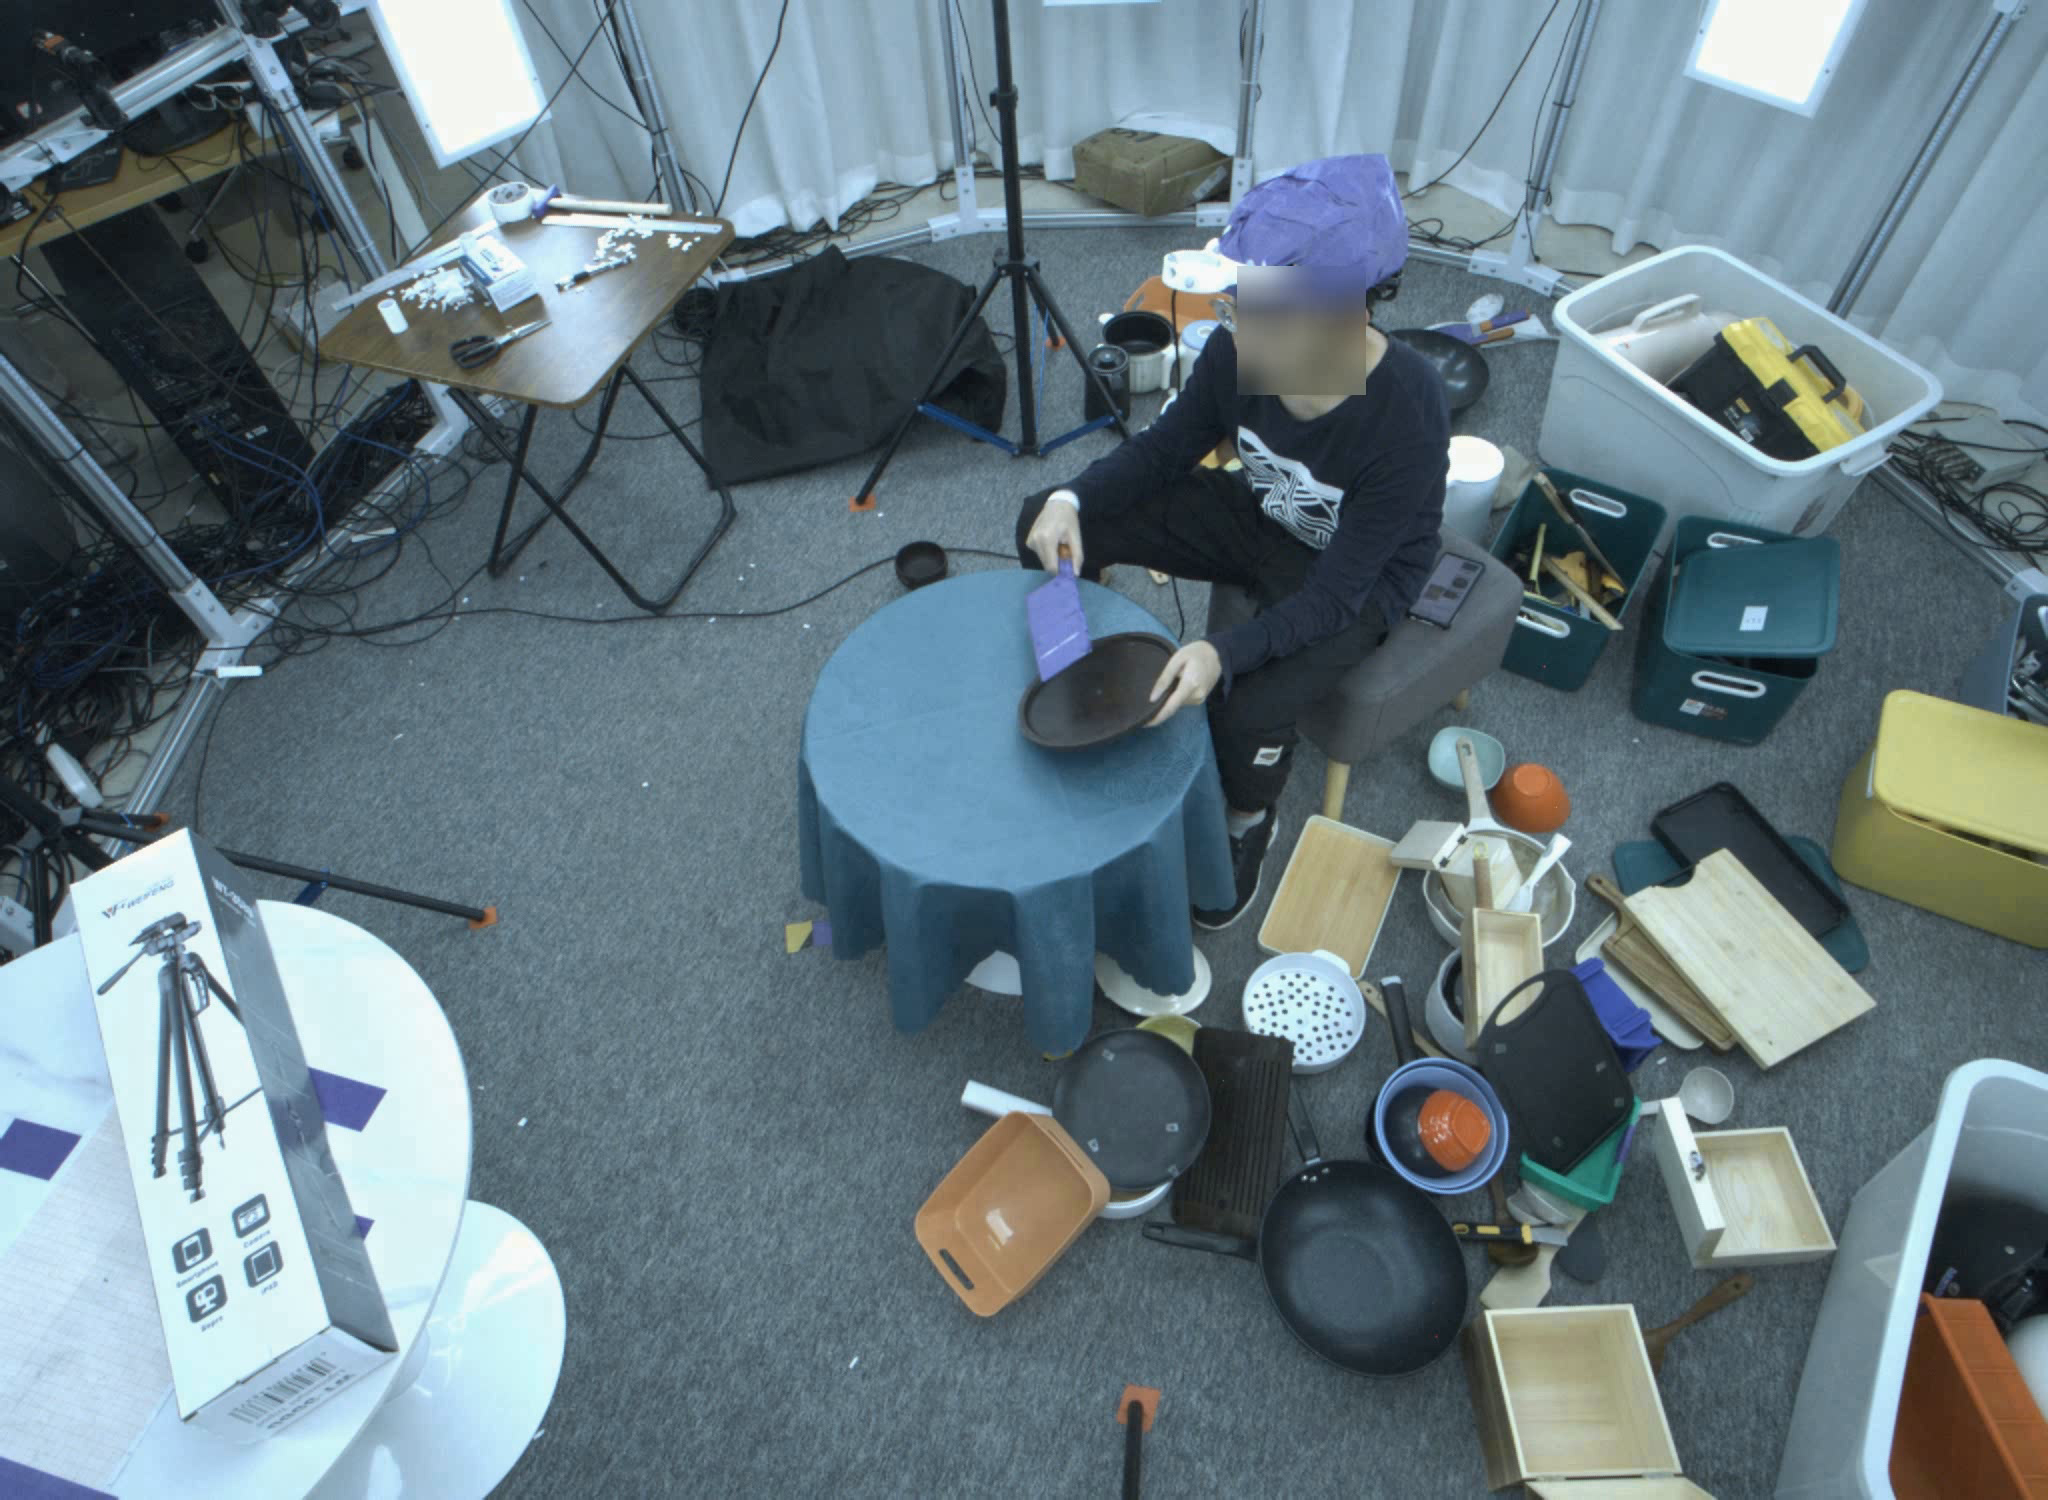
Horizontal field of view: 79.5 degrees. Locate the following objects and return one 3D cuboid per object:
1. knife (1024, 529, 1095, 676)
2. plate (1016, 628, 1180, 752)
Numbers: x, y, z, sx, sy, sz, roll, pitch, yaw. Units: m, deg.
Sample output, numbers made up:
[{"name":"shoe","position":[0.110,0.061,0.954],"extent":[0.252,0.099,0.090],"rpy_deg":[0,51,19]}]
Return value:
[{"name":"knife","position":[0.040,-0.228,1.850],"extent":[0.103,0.033,0.311],"rpy_deg":[-31,37,18]},{"name":"plate","position":[0.107,-0.085,1.781],"extent":[0.252,0.029,0.252],"rpy_deg":[-18,36,15]}]
